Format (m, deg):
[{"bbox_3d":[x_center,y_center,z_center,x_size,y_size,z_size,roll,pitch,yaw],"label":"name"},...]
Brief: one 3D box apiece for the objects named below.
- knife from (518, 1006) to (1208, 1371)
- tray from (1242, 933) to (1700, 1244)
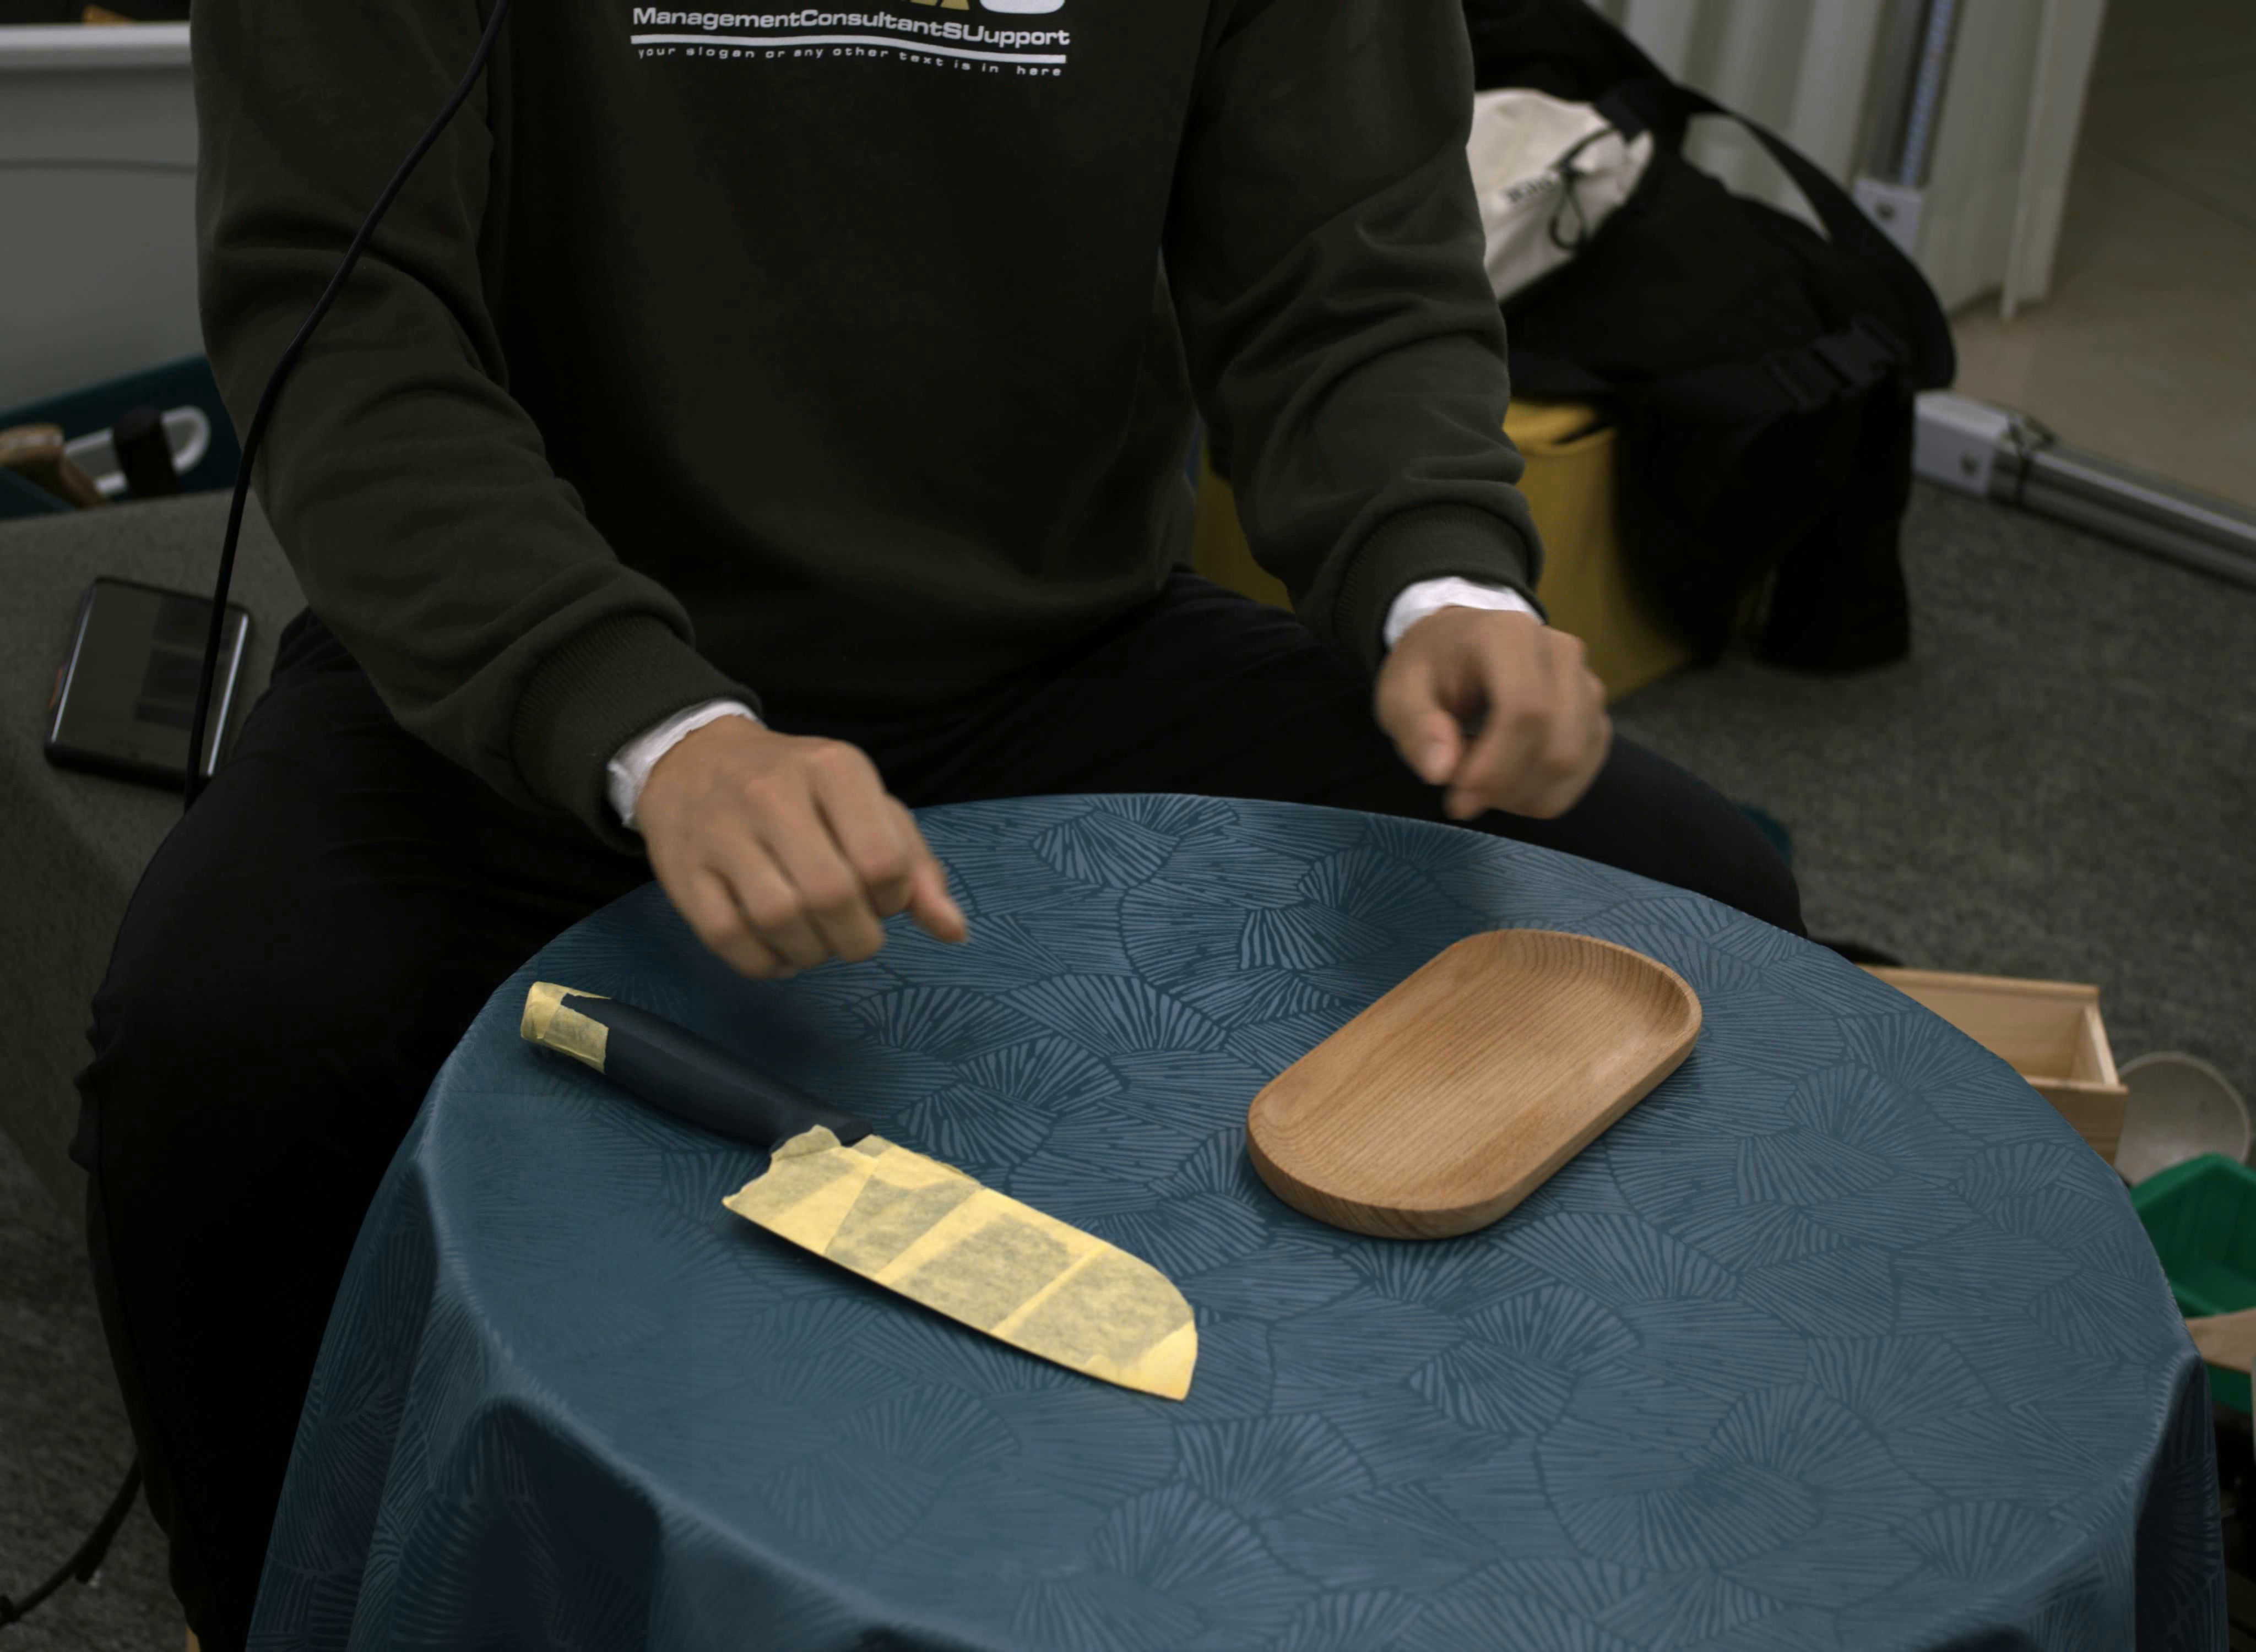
[{"bbox_3d":[-0.095,0.122,1.771,0.291,0.027,0.081,23,29,27],"label":"knife"},{"bbox_3d":[0.123,0.091,1.880,0.102,0.020,0.231,19,30,26],"label":"tray"}]
